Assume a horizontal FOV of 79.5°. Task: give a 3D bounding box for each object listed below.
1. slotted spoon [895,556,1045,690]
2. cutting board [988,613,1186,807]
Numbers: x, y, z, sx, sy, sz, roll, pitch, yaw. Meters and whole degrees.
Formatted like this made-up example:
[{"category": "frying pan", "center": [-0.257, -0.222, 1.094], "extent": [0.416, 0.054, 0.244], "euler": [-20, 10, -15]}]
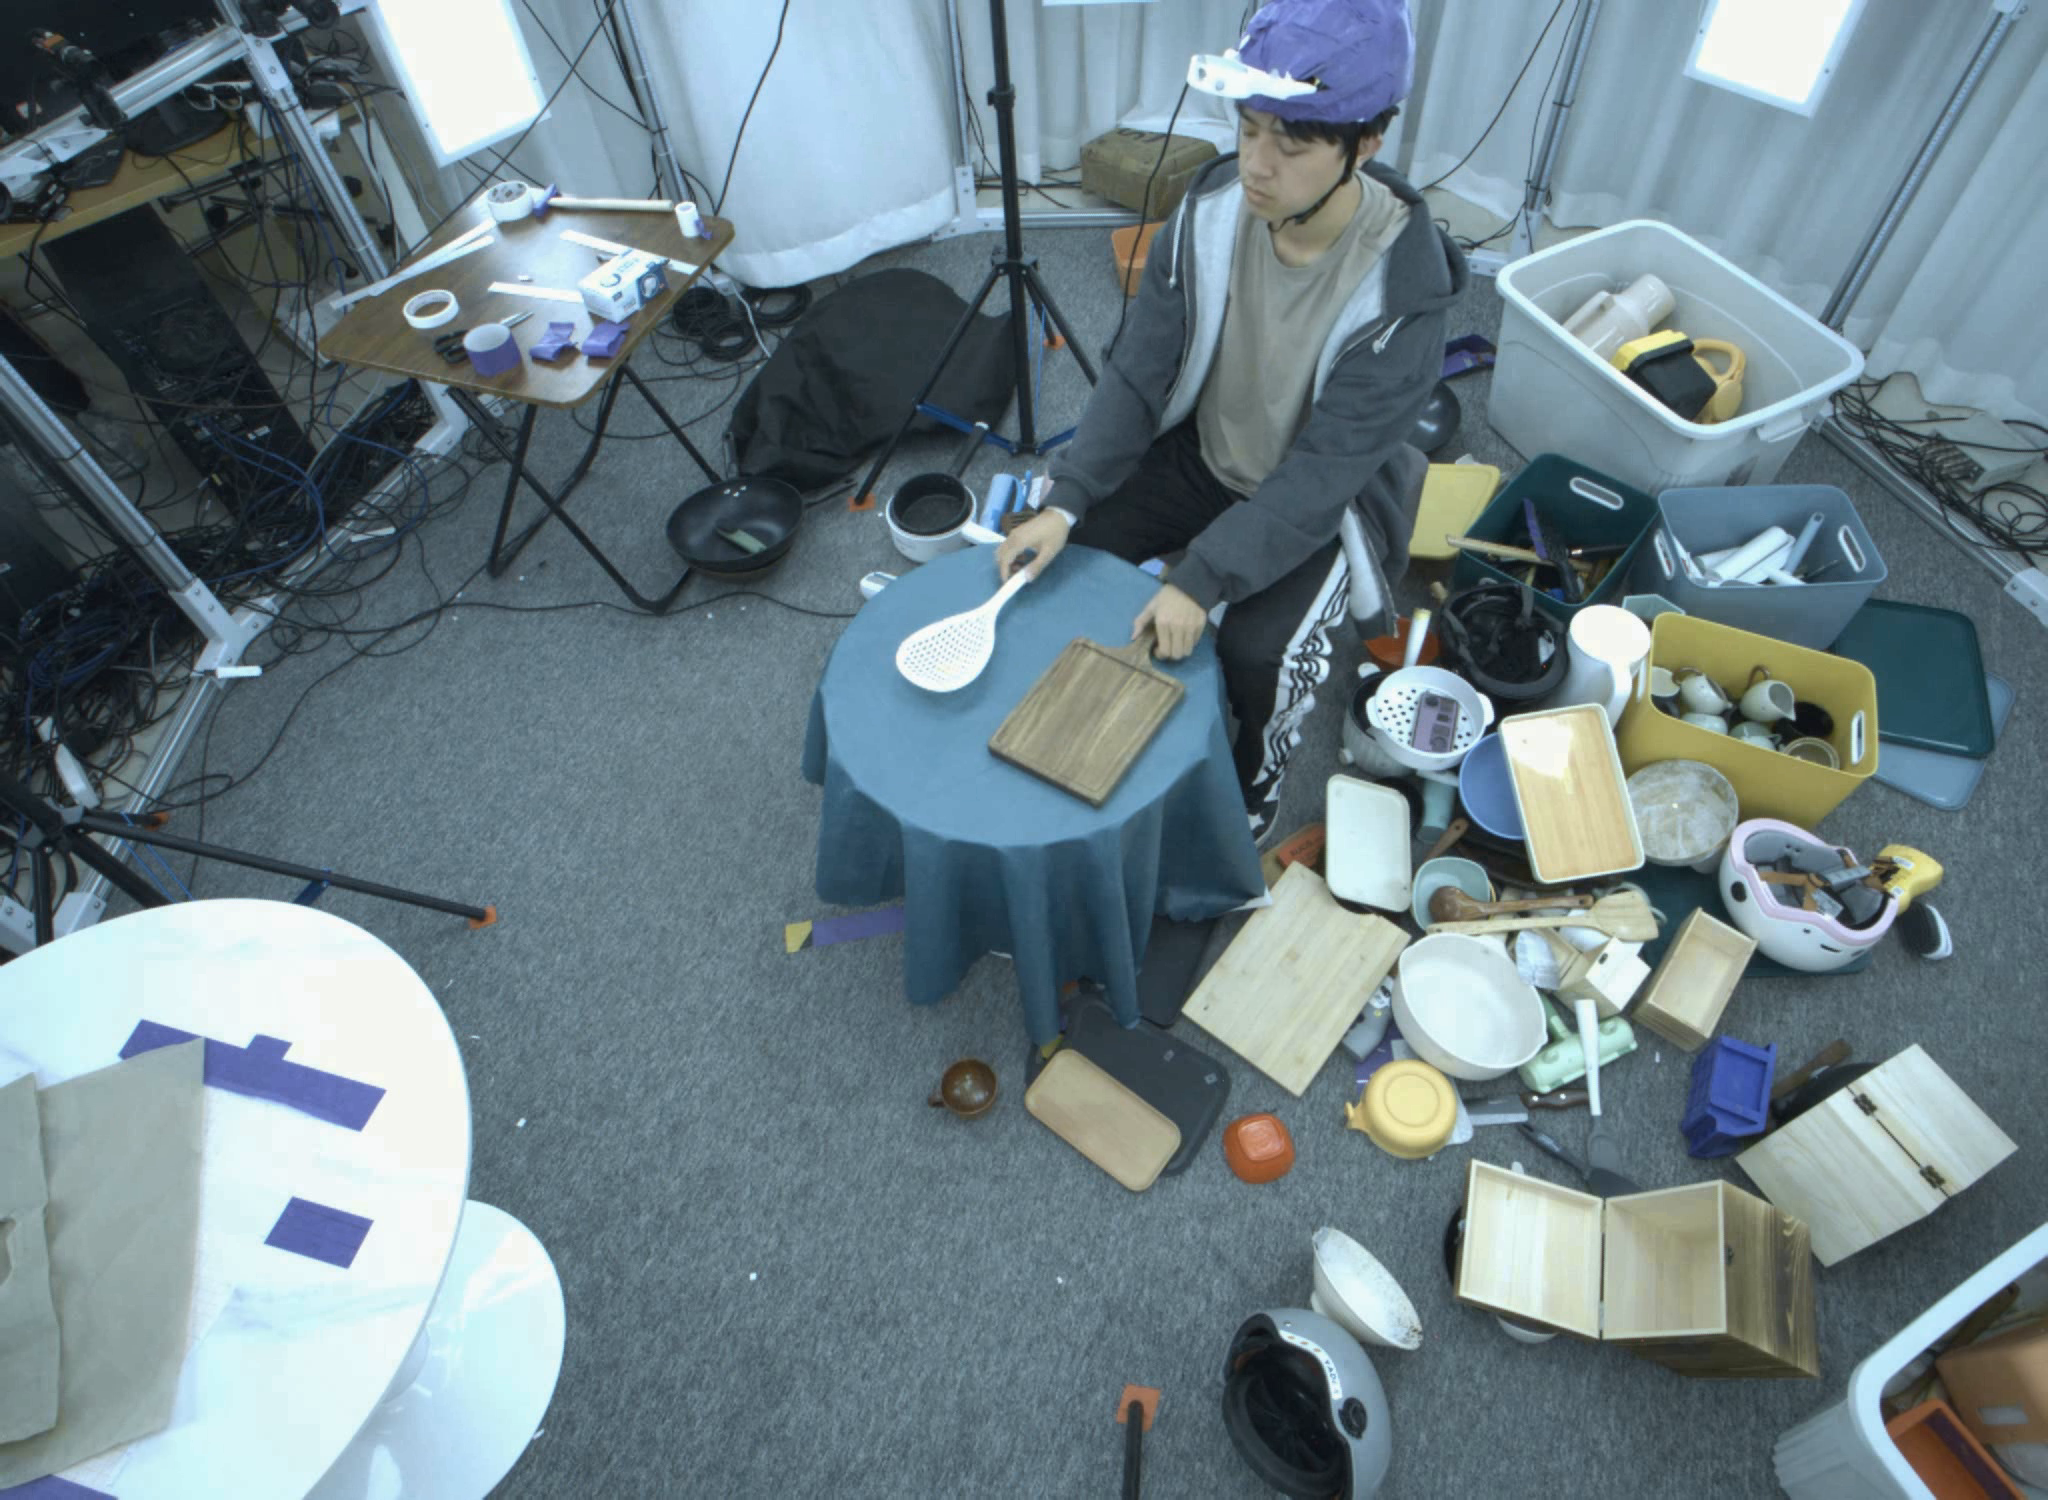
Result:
[{"category": "slotted spoon", "center": [-0.062, -0.207, 1.914], "extent": [0.134, 0.051, 0.349], "euler": [26, 60, 22]}, {"category": "cutting board", "center": [0.121, -0.083, 1.832], "extent": [0.198, 0.023, 0.353], "euler": [27, 60, 19]}]
